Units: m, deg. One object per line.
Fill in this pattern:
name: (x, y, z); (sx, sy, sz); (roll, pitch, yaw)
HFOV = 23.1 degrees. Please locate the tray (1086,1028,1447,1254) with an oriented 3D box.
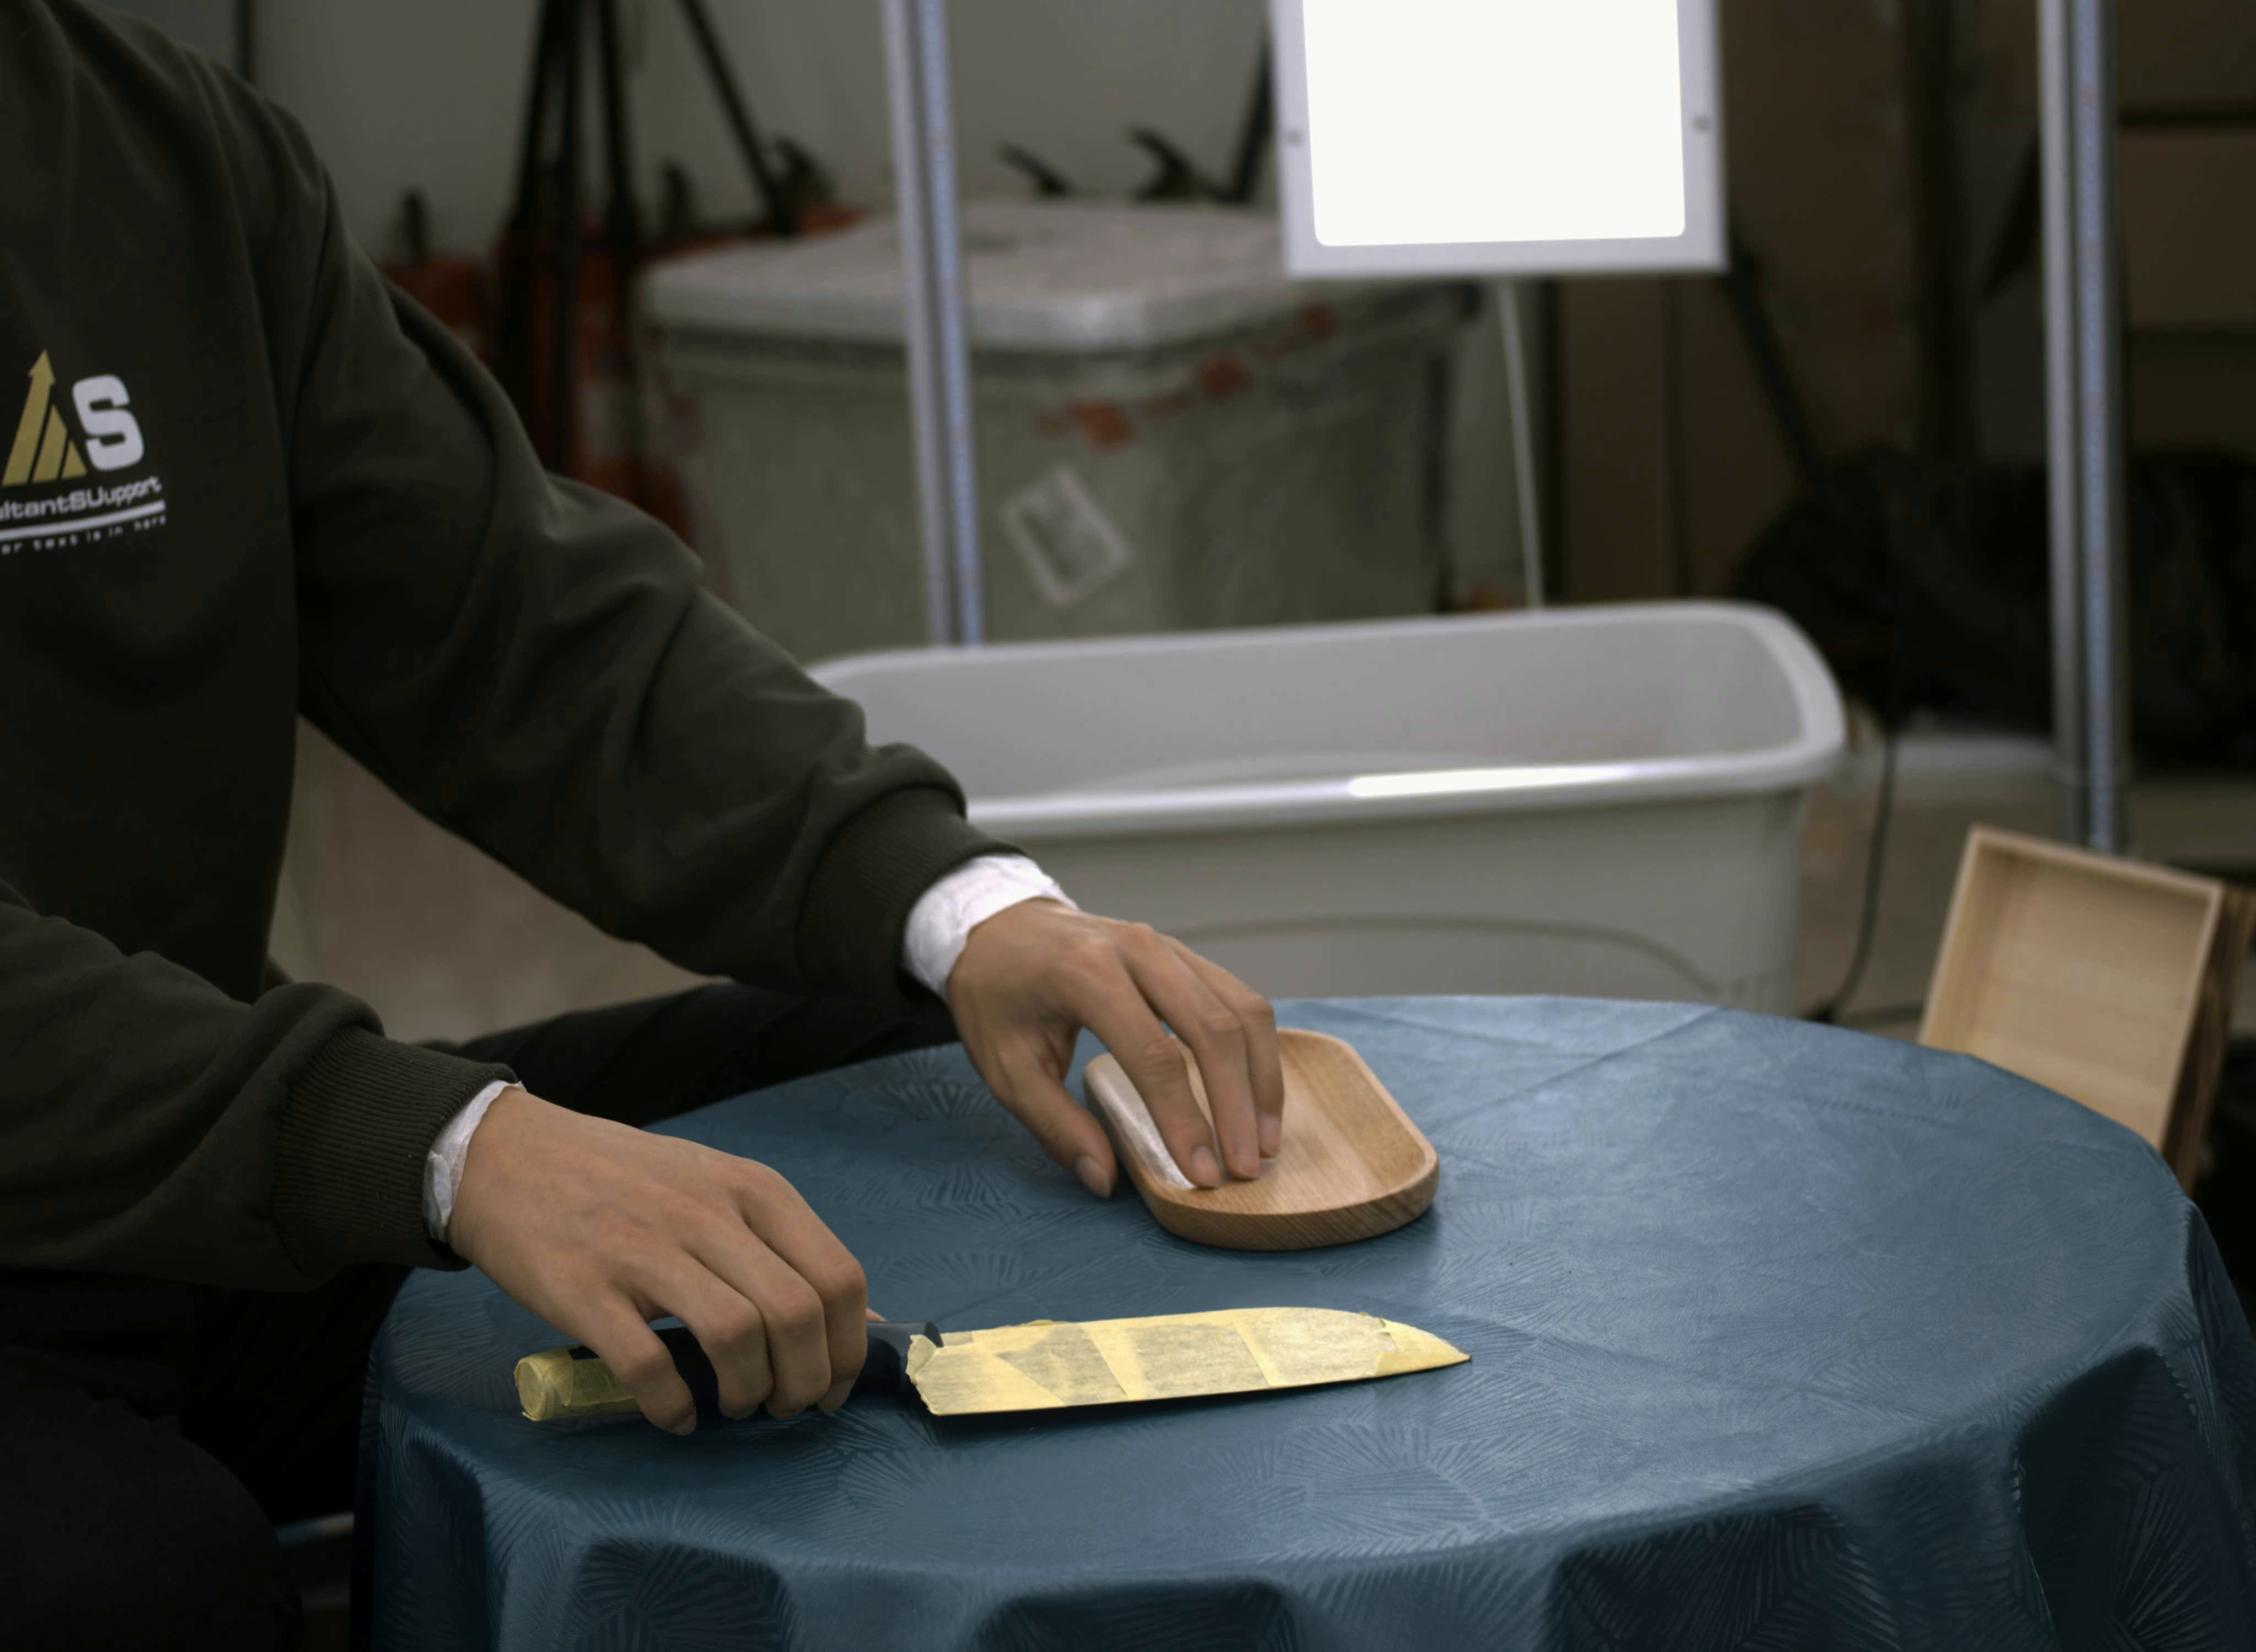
tray: (0.047, 0.108, 1.926); (0.101, 0.020, 0.232); (-9, 15, -7)

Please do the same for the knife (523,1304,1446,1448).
knife: (-0.043, 0.170, 1.709); (0.287, 0.027, 0.081); (-5, 12, -4)
